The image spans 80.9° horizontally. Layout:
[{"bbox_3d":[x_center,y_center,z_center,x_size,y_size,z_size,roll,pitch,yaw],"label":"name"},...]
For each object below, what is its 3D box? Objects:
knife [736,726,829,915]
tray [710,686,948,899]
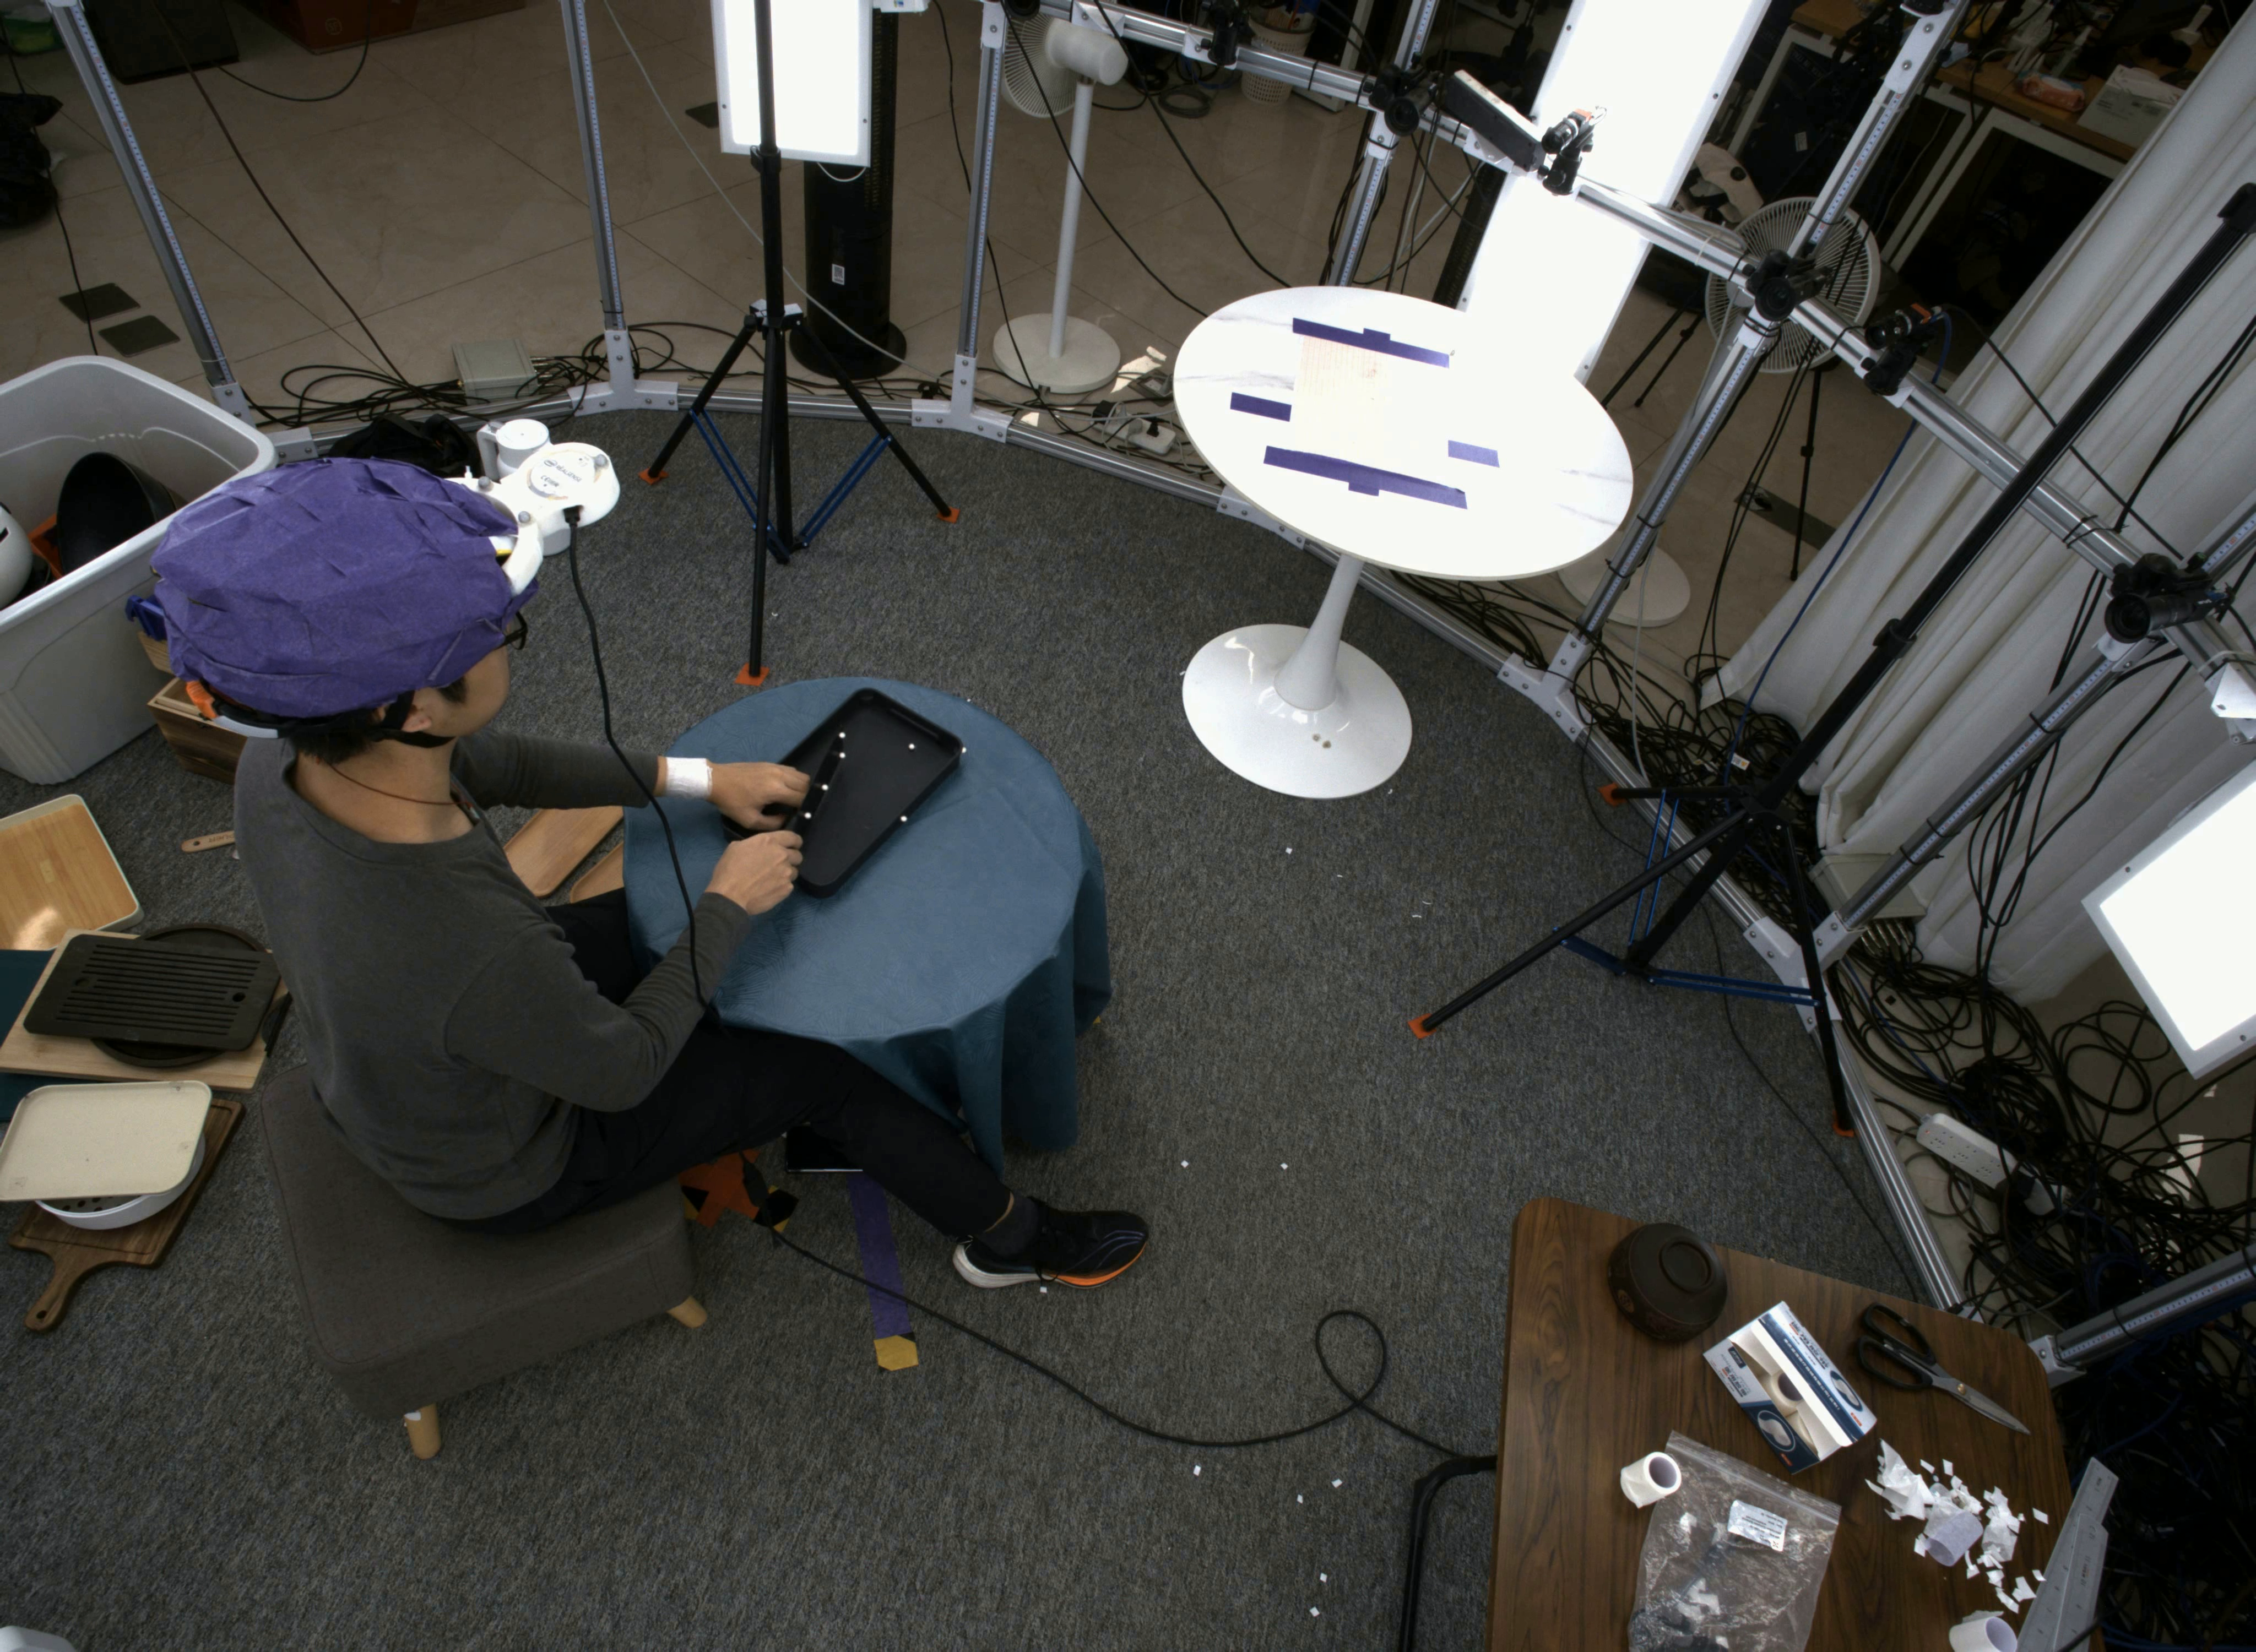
[{"bbox_3d":[-0.440,-0.007,1.673,0.020,0.083,0.298,13,47,2],"label":"knife"},{"bbox_3d":[-0.399,-0.053,1.757,0.181,0.038,0.316,29,52,8],"label":"tray"}]
